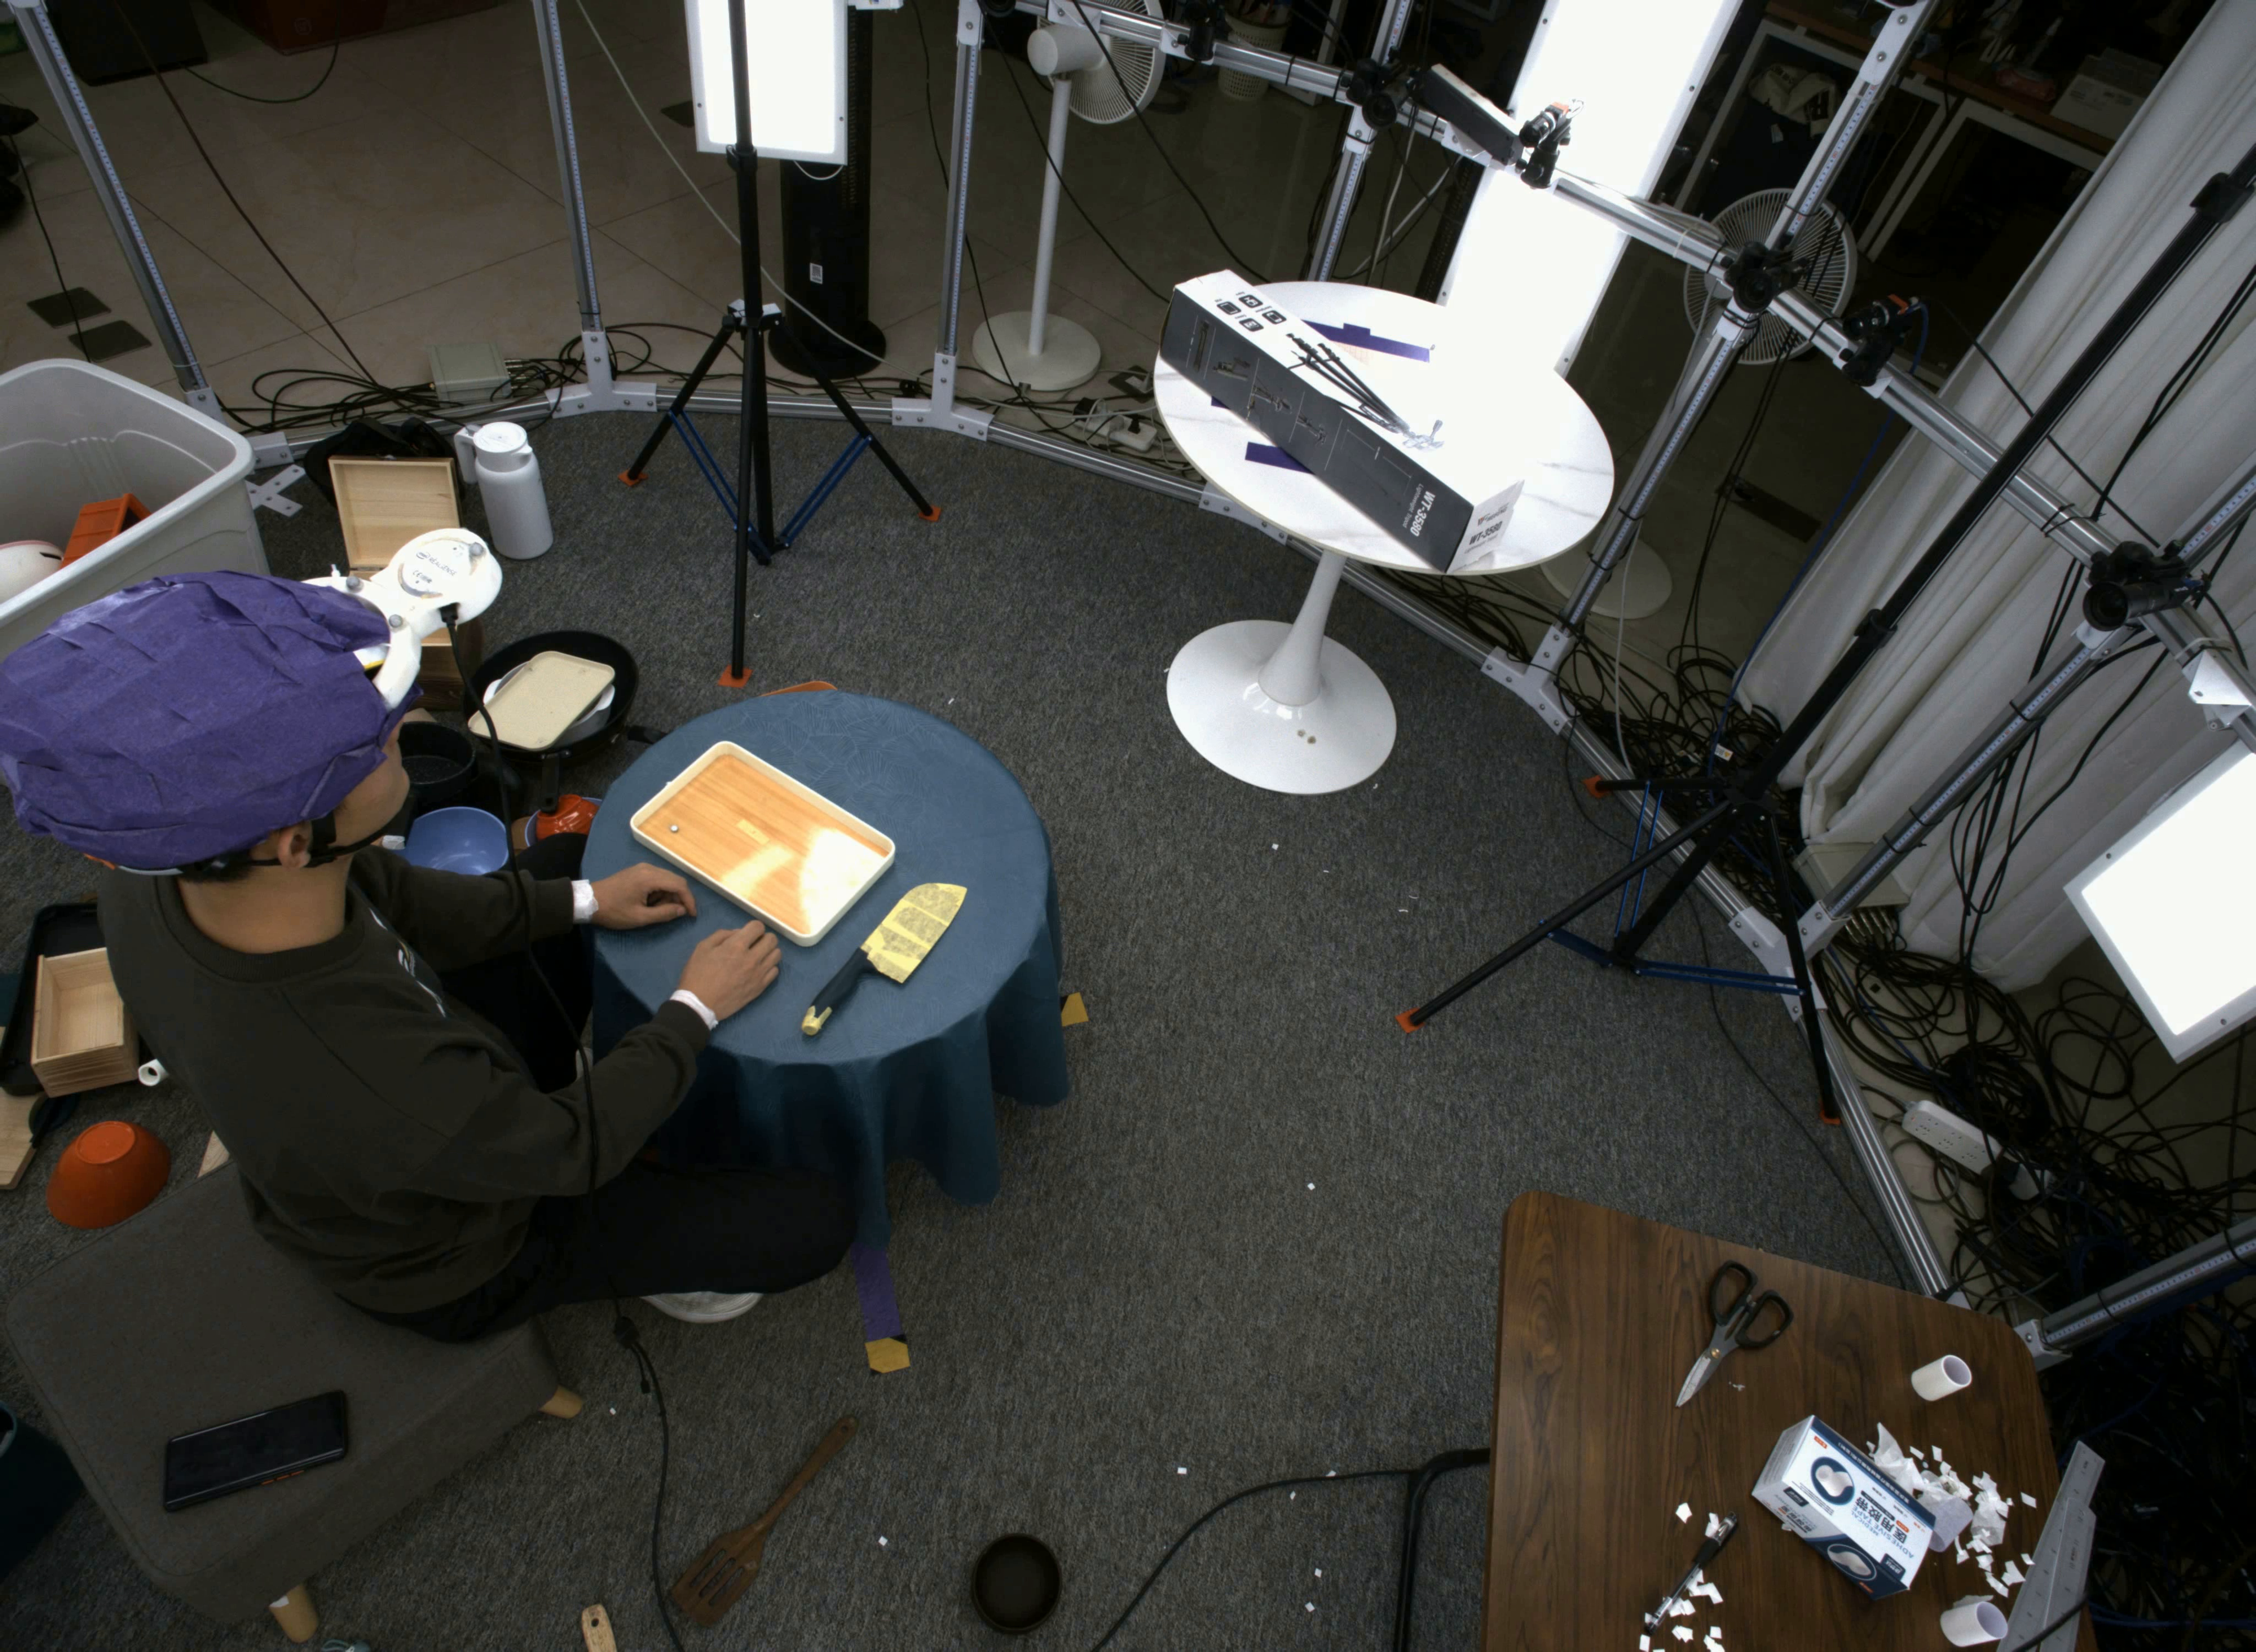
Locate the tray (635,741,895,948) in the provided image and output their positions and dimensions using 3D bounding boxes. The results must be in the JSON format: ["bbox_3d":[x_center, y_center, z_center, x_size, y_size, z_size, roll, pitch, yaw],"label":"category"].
[{"bbox_3d":[-0.474,0.018,1.692,0.295,0.028,0.191,31,54,9],"label":"tray"}]

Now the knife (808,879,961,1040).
[{"bbox_3d":[-0.301,0.162,1.637,0.079,0.028,0.288,30,52,11],"label":"knife"}]
